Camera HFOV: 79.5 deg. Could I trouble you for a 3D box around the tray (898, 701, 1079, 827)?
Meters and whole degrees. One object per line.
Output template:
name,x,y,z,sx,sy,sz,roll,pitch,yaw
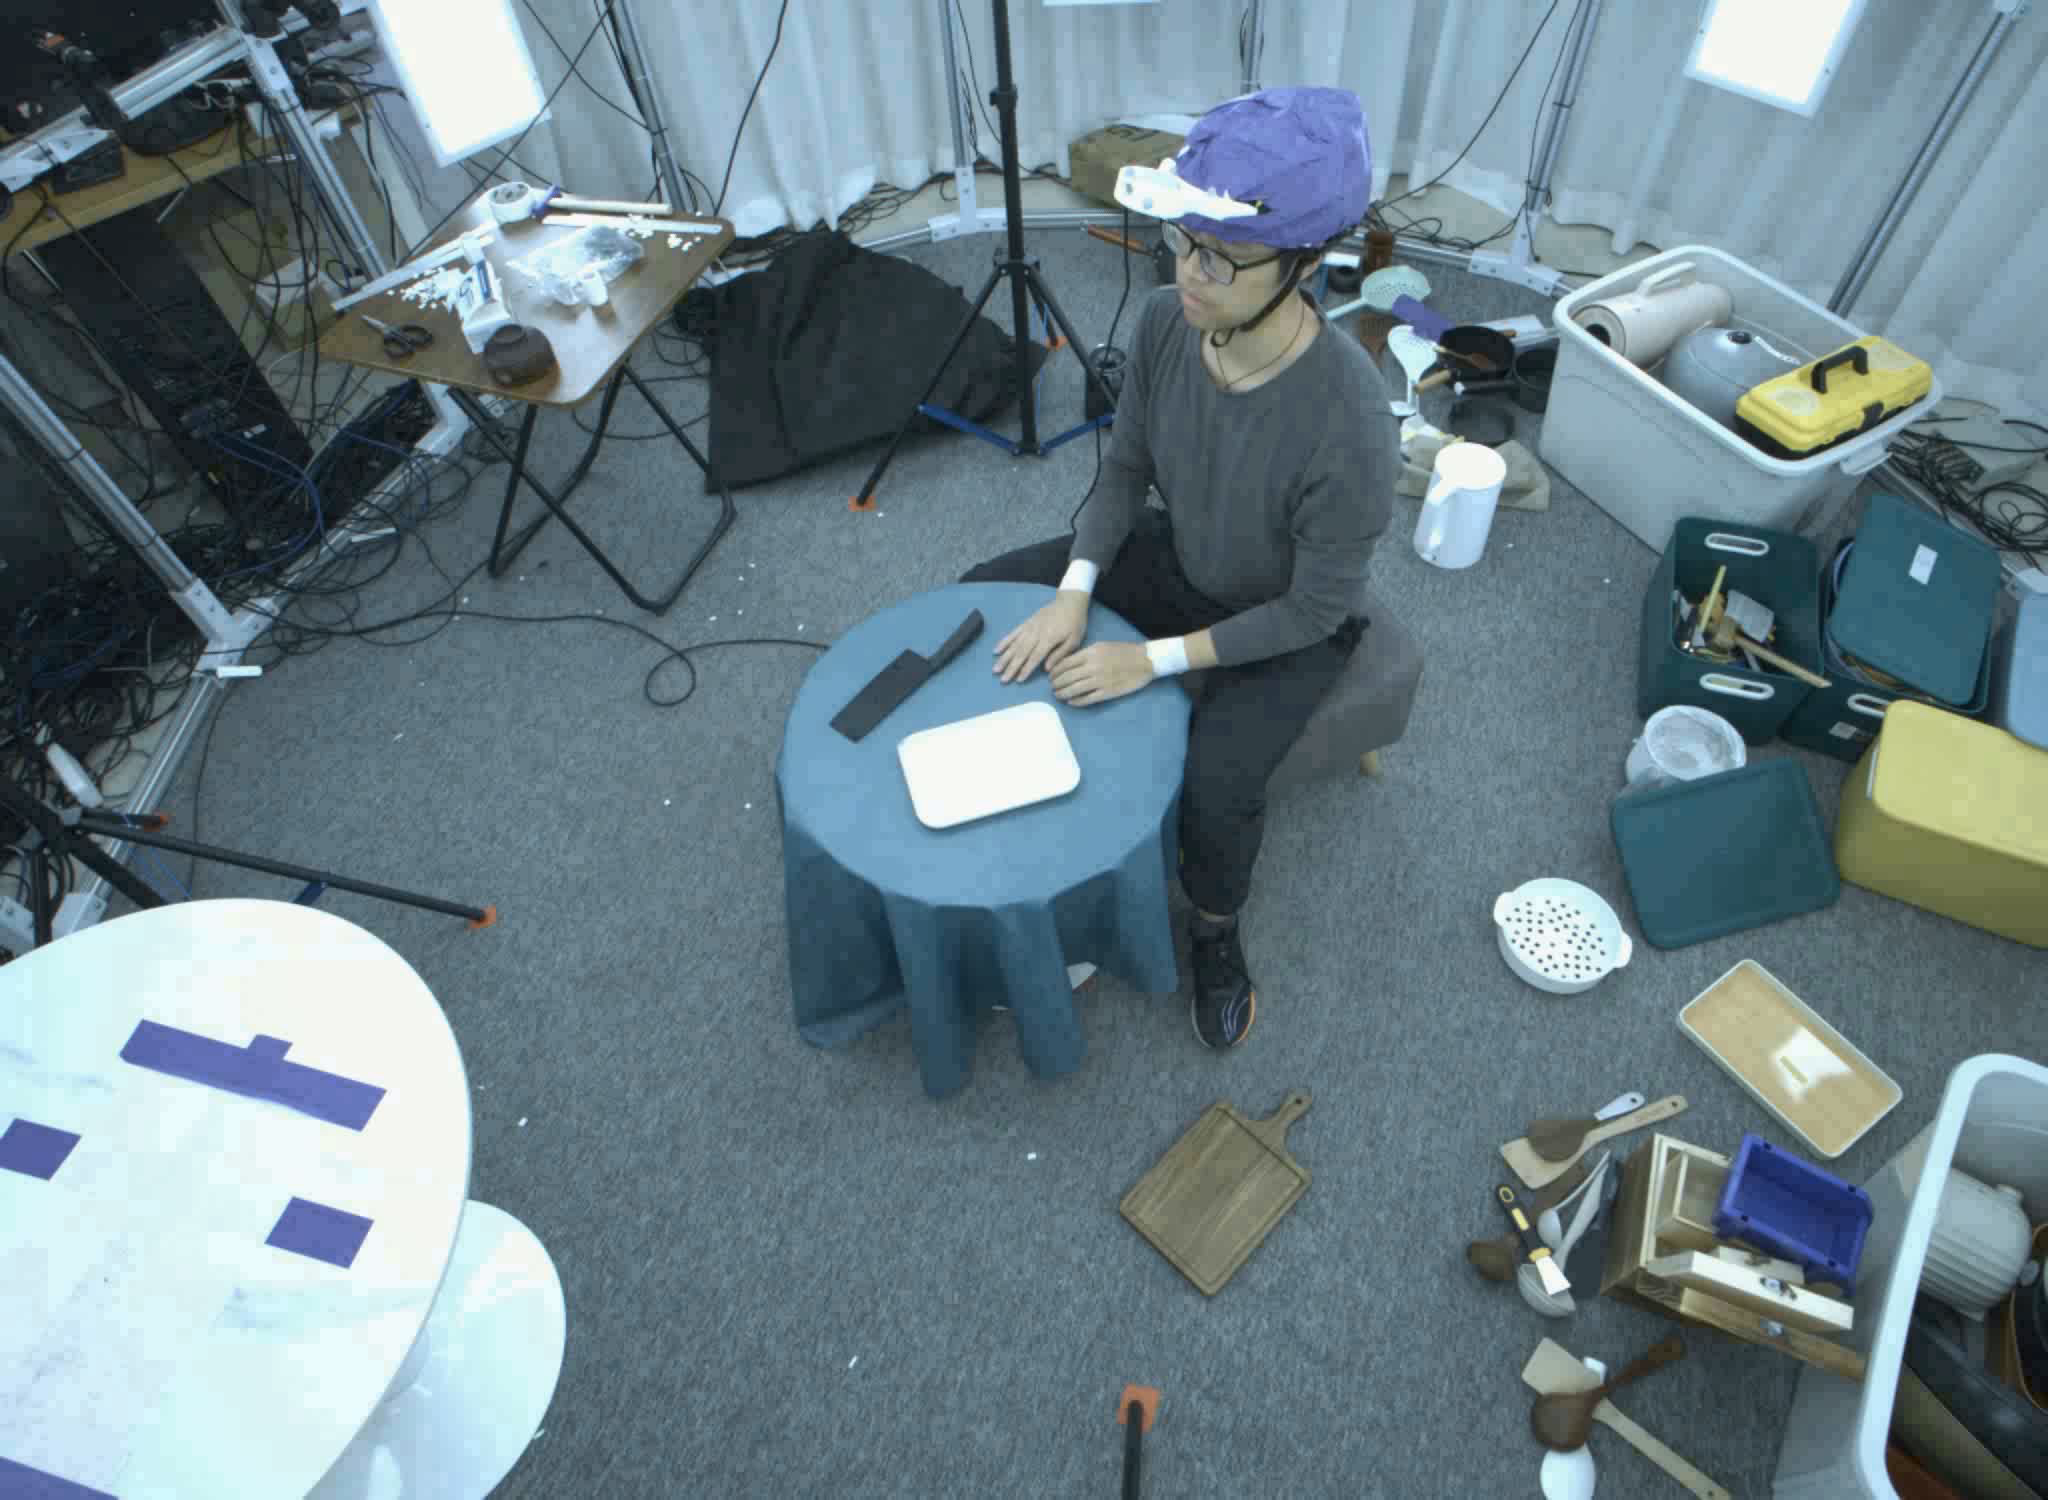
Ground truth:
tray,-0.052,0.019,1.771,0.241,0.017,0.168,-15,56,-9

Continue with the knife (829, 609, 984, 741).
knife,-0.174,-0.122,1.878,0.079,0.021,0.304,37,65,26
